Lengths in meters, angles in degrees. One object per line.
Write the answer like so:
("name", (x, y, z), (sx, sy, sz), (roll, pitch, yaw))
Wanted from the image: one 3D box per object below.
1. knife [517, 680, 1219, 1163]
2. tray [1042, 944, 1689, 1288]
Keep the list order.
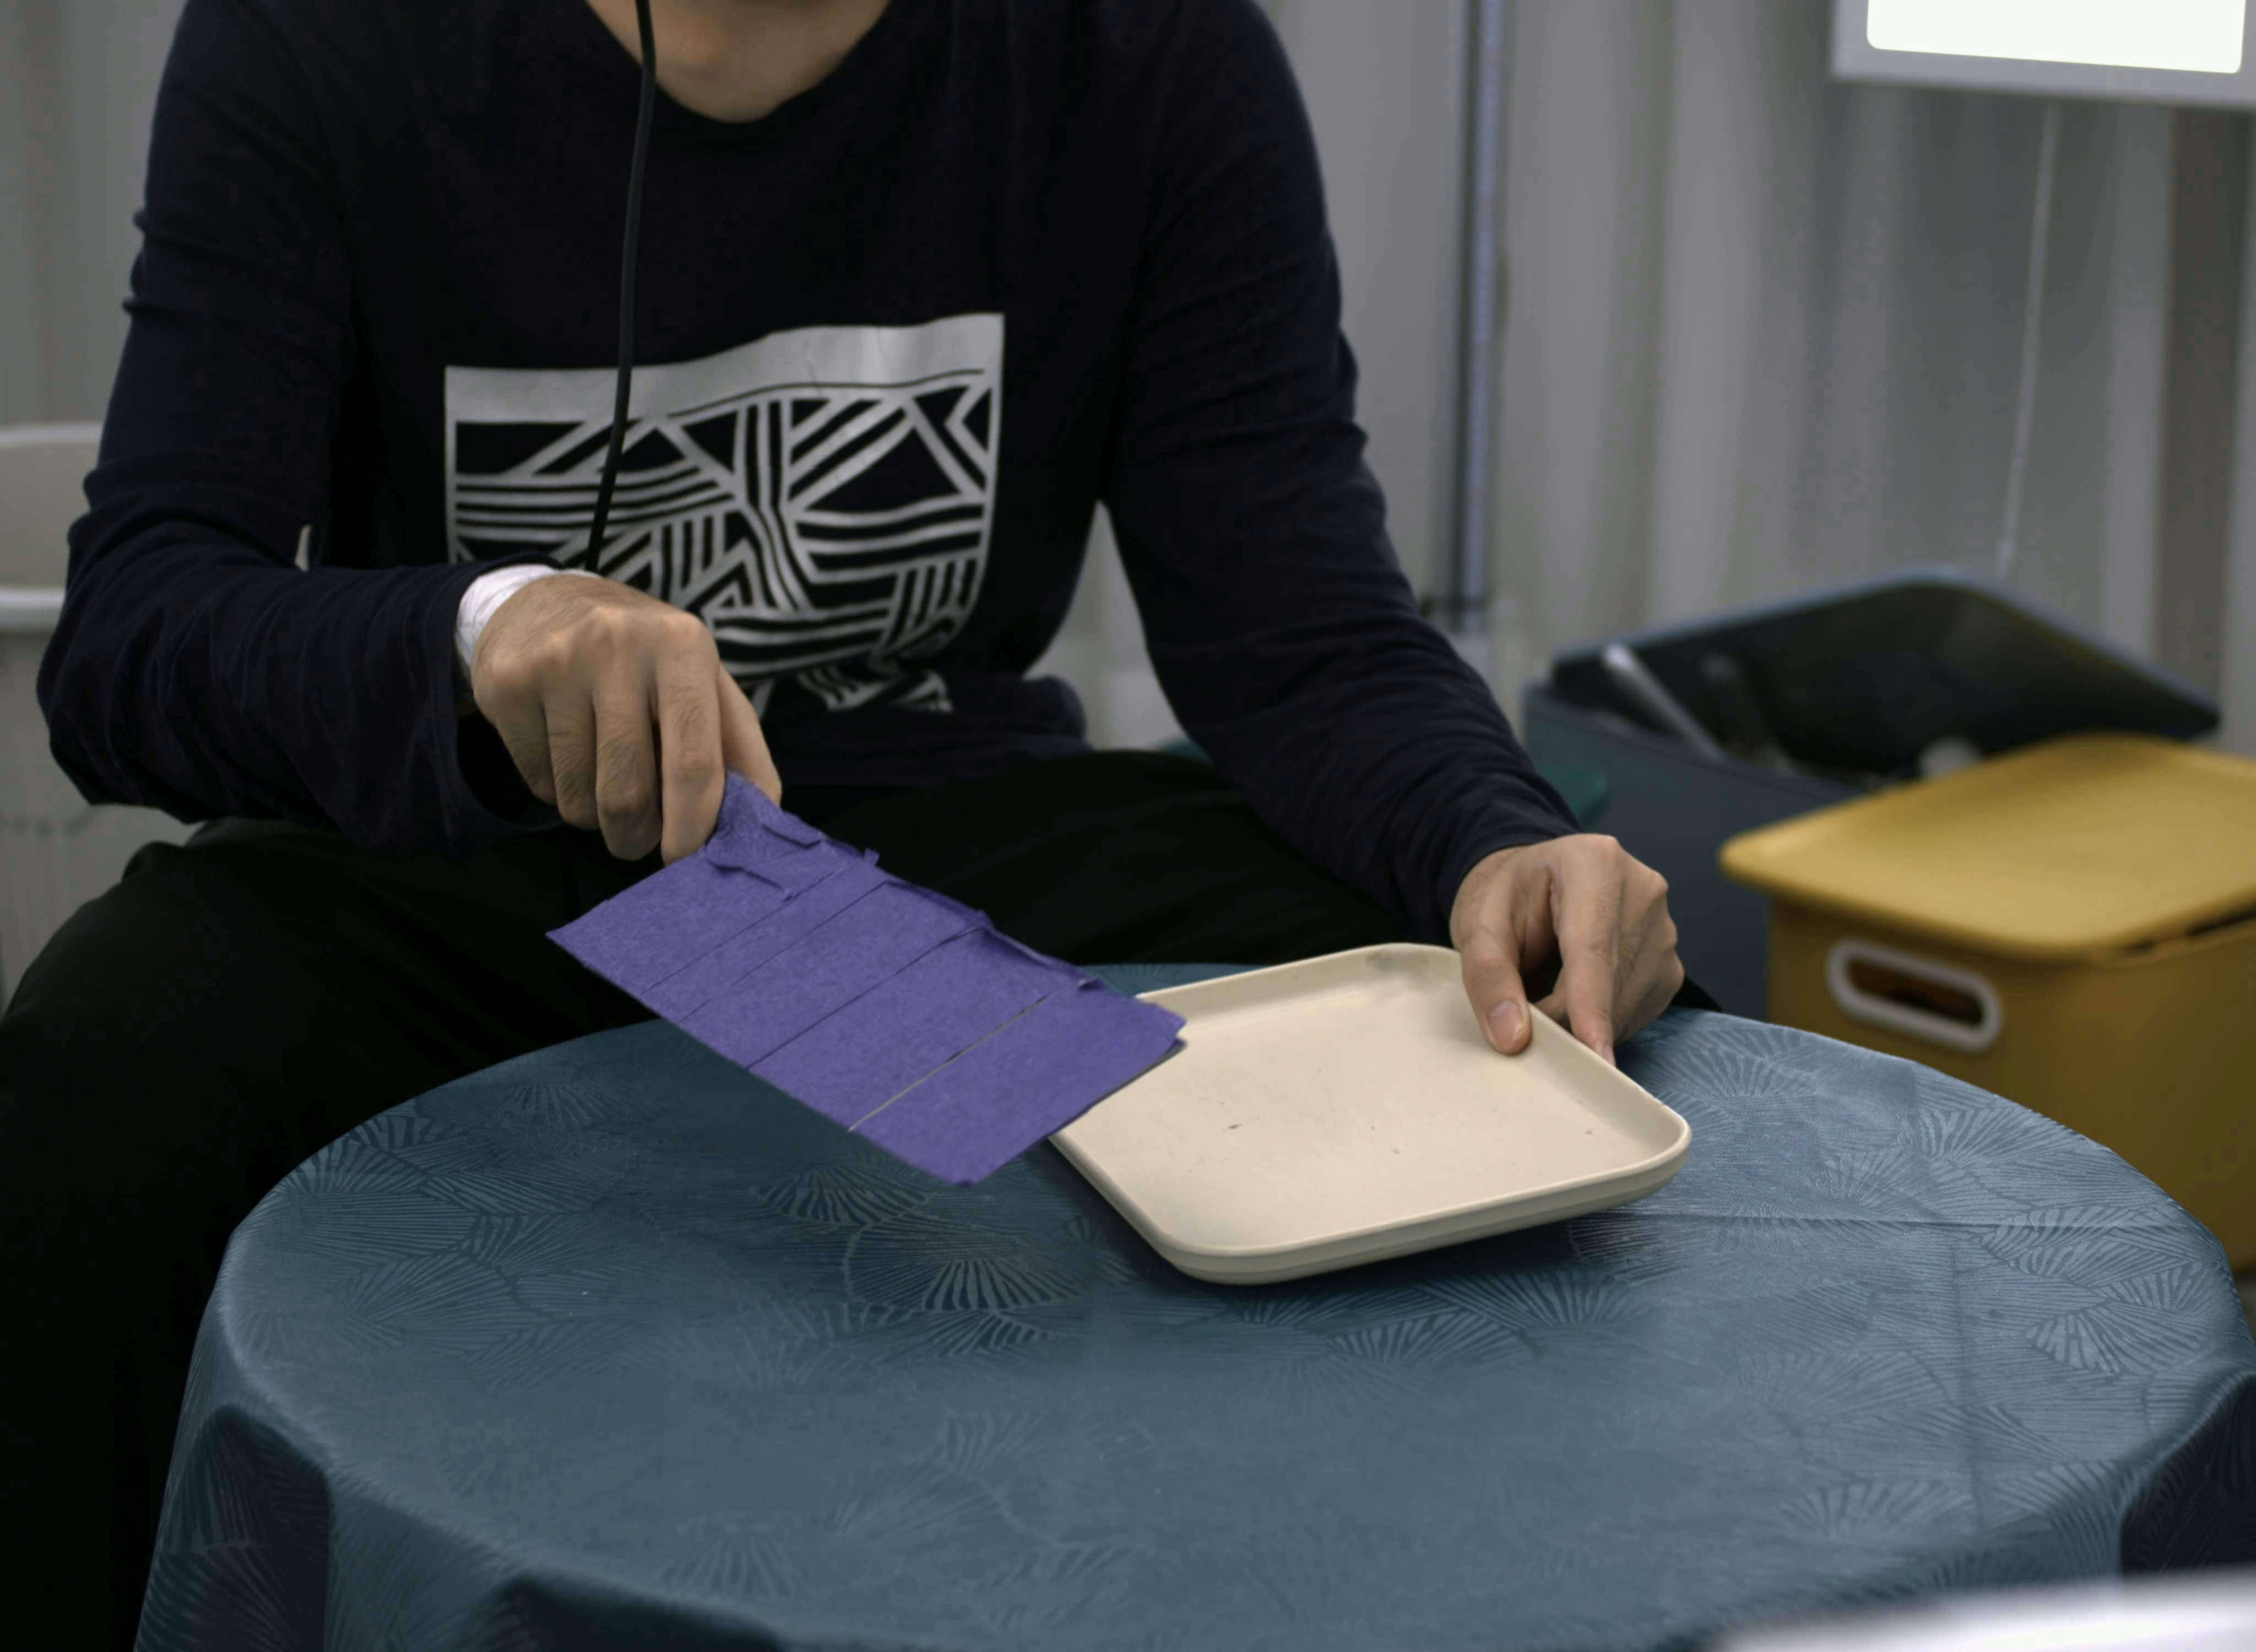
("knife", (-0.110, 0.025, 1.597), (0.104, 0.032, 0.311), (-31, 36, -30))
("tray", (0.061, 0.089, 1.649), (0.171, 0.017, 0.237), (-12, 18, -15))
